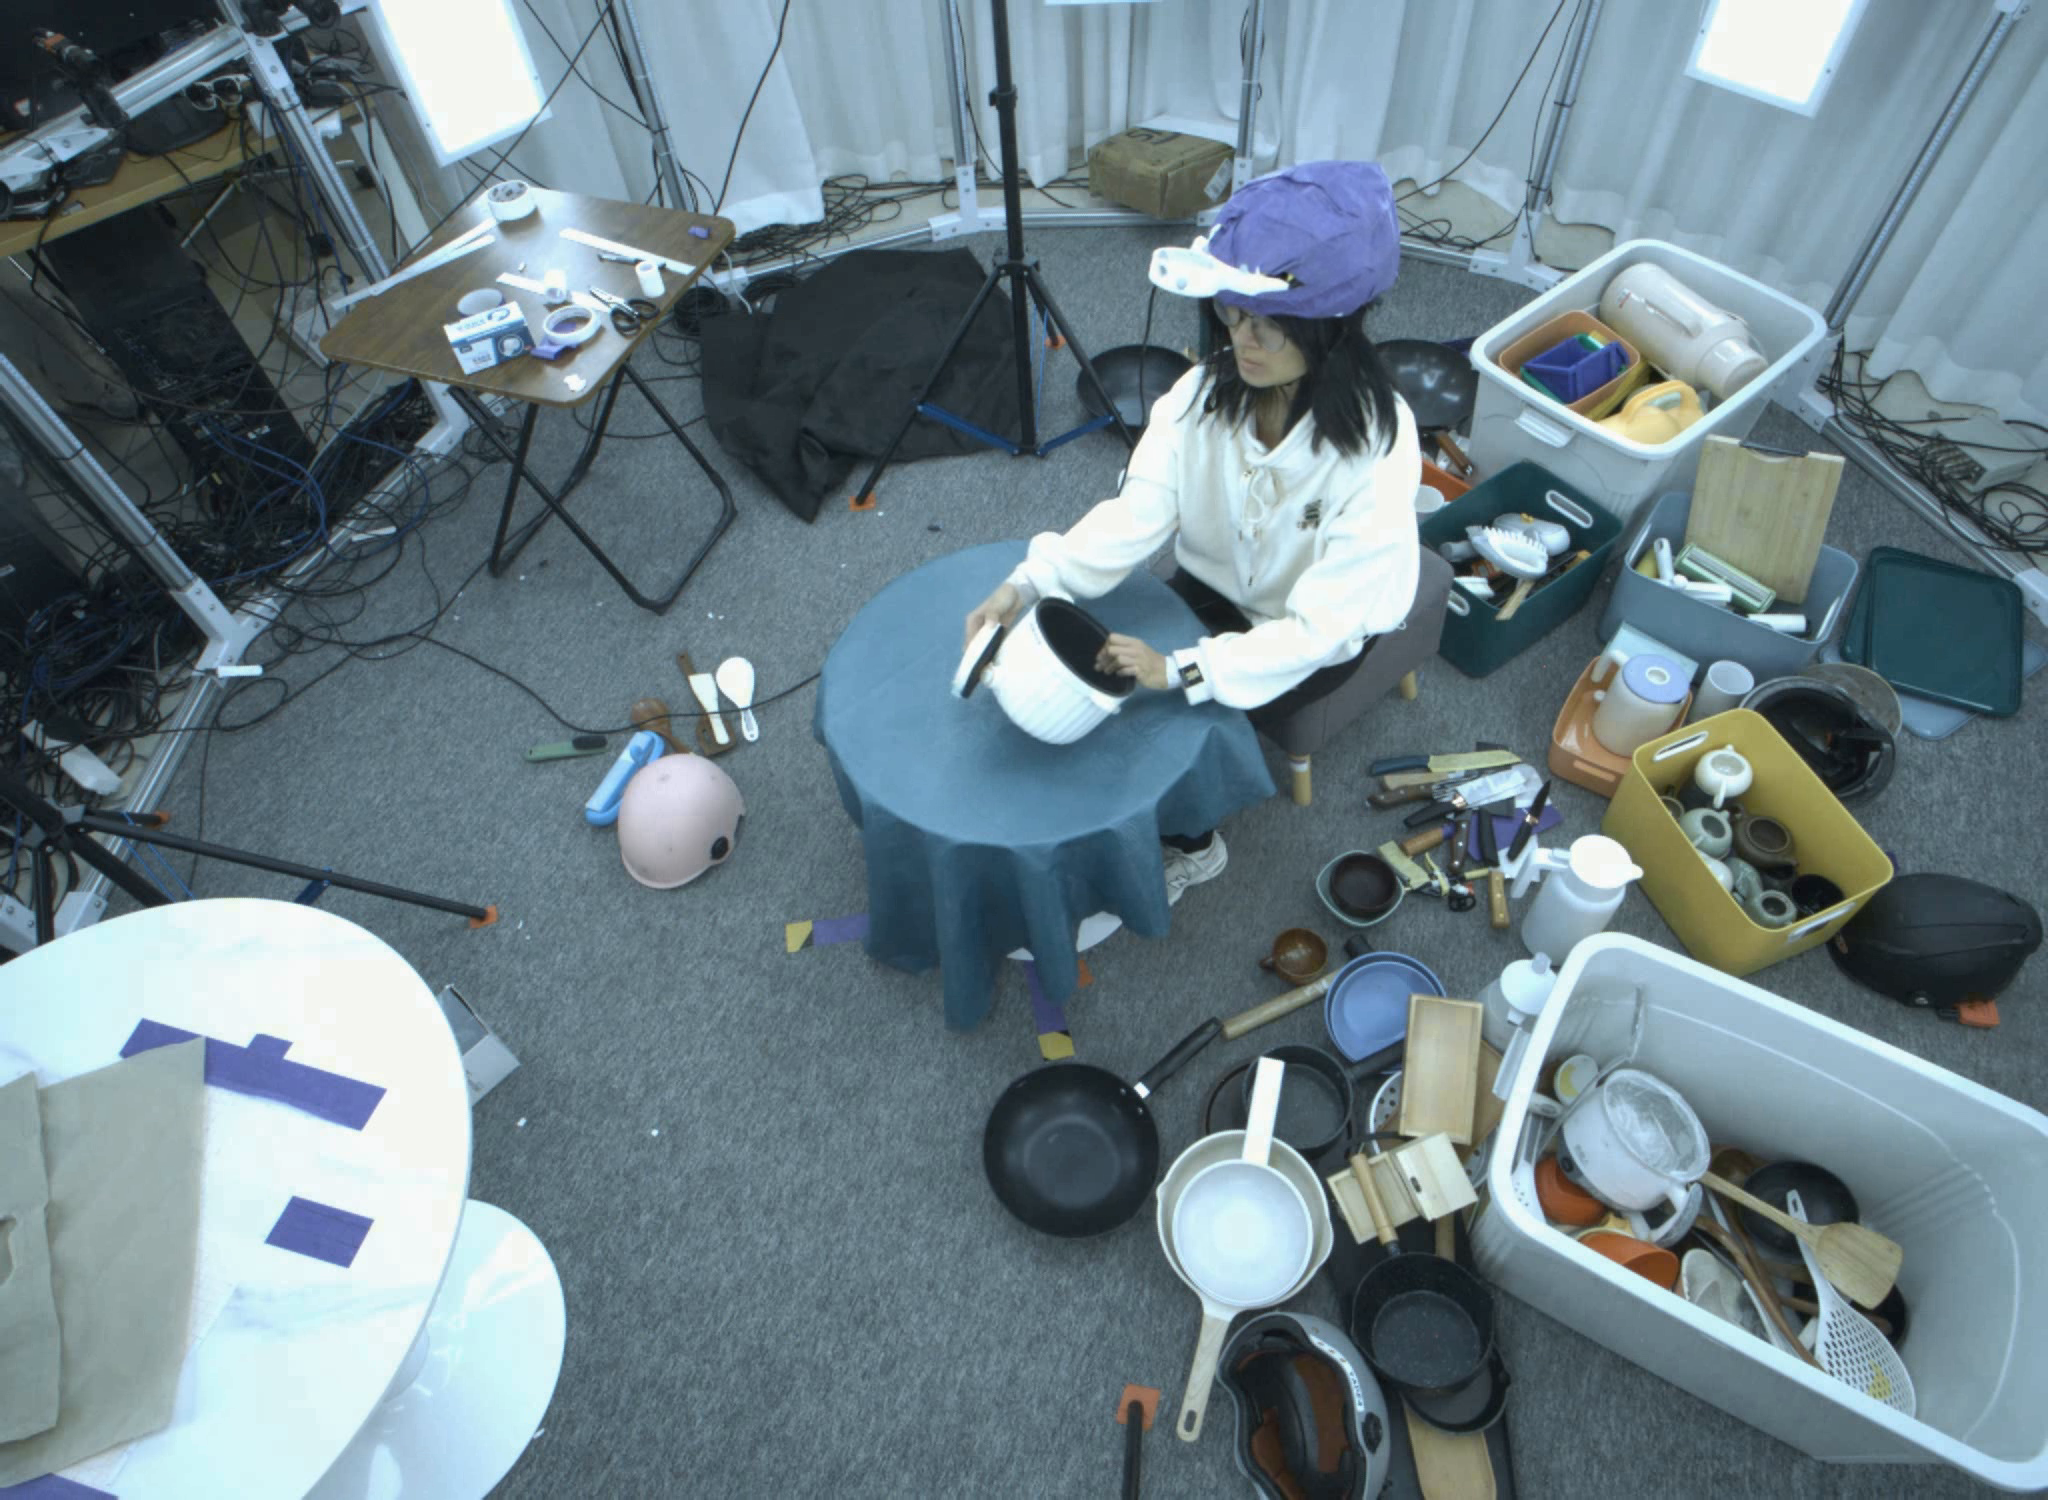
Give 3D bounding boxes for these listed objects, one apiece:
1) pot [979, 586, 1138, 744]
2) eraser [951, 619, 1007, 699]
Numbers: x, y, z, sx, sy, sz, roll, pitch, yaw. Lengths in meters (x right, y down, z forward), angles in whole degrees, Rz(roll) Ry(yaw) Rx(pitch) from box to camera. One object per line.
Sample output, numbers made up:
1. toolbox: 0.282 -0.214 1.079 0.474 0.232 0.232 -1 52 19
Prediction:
1. pot: 0.042 -0.105 1.725 0.141 0.195 0.236 -42 52 26
2. eraser: -0.064 -0.129 1.717 0.034 0.063 0.131 28 45 -1
